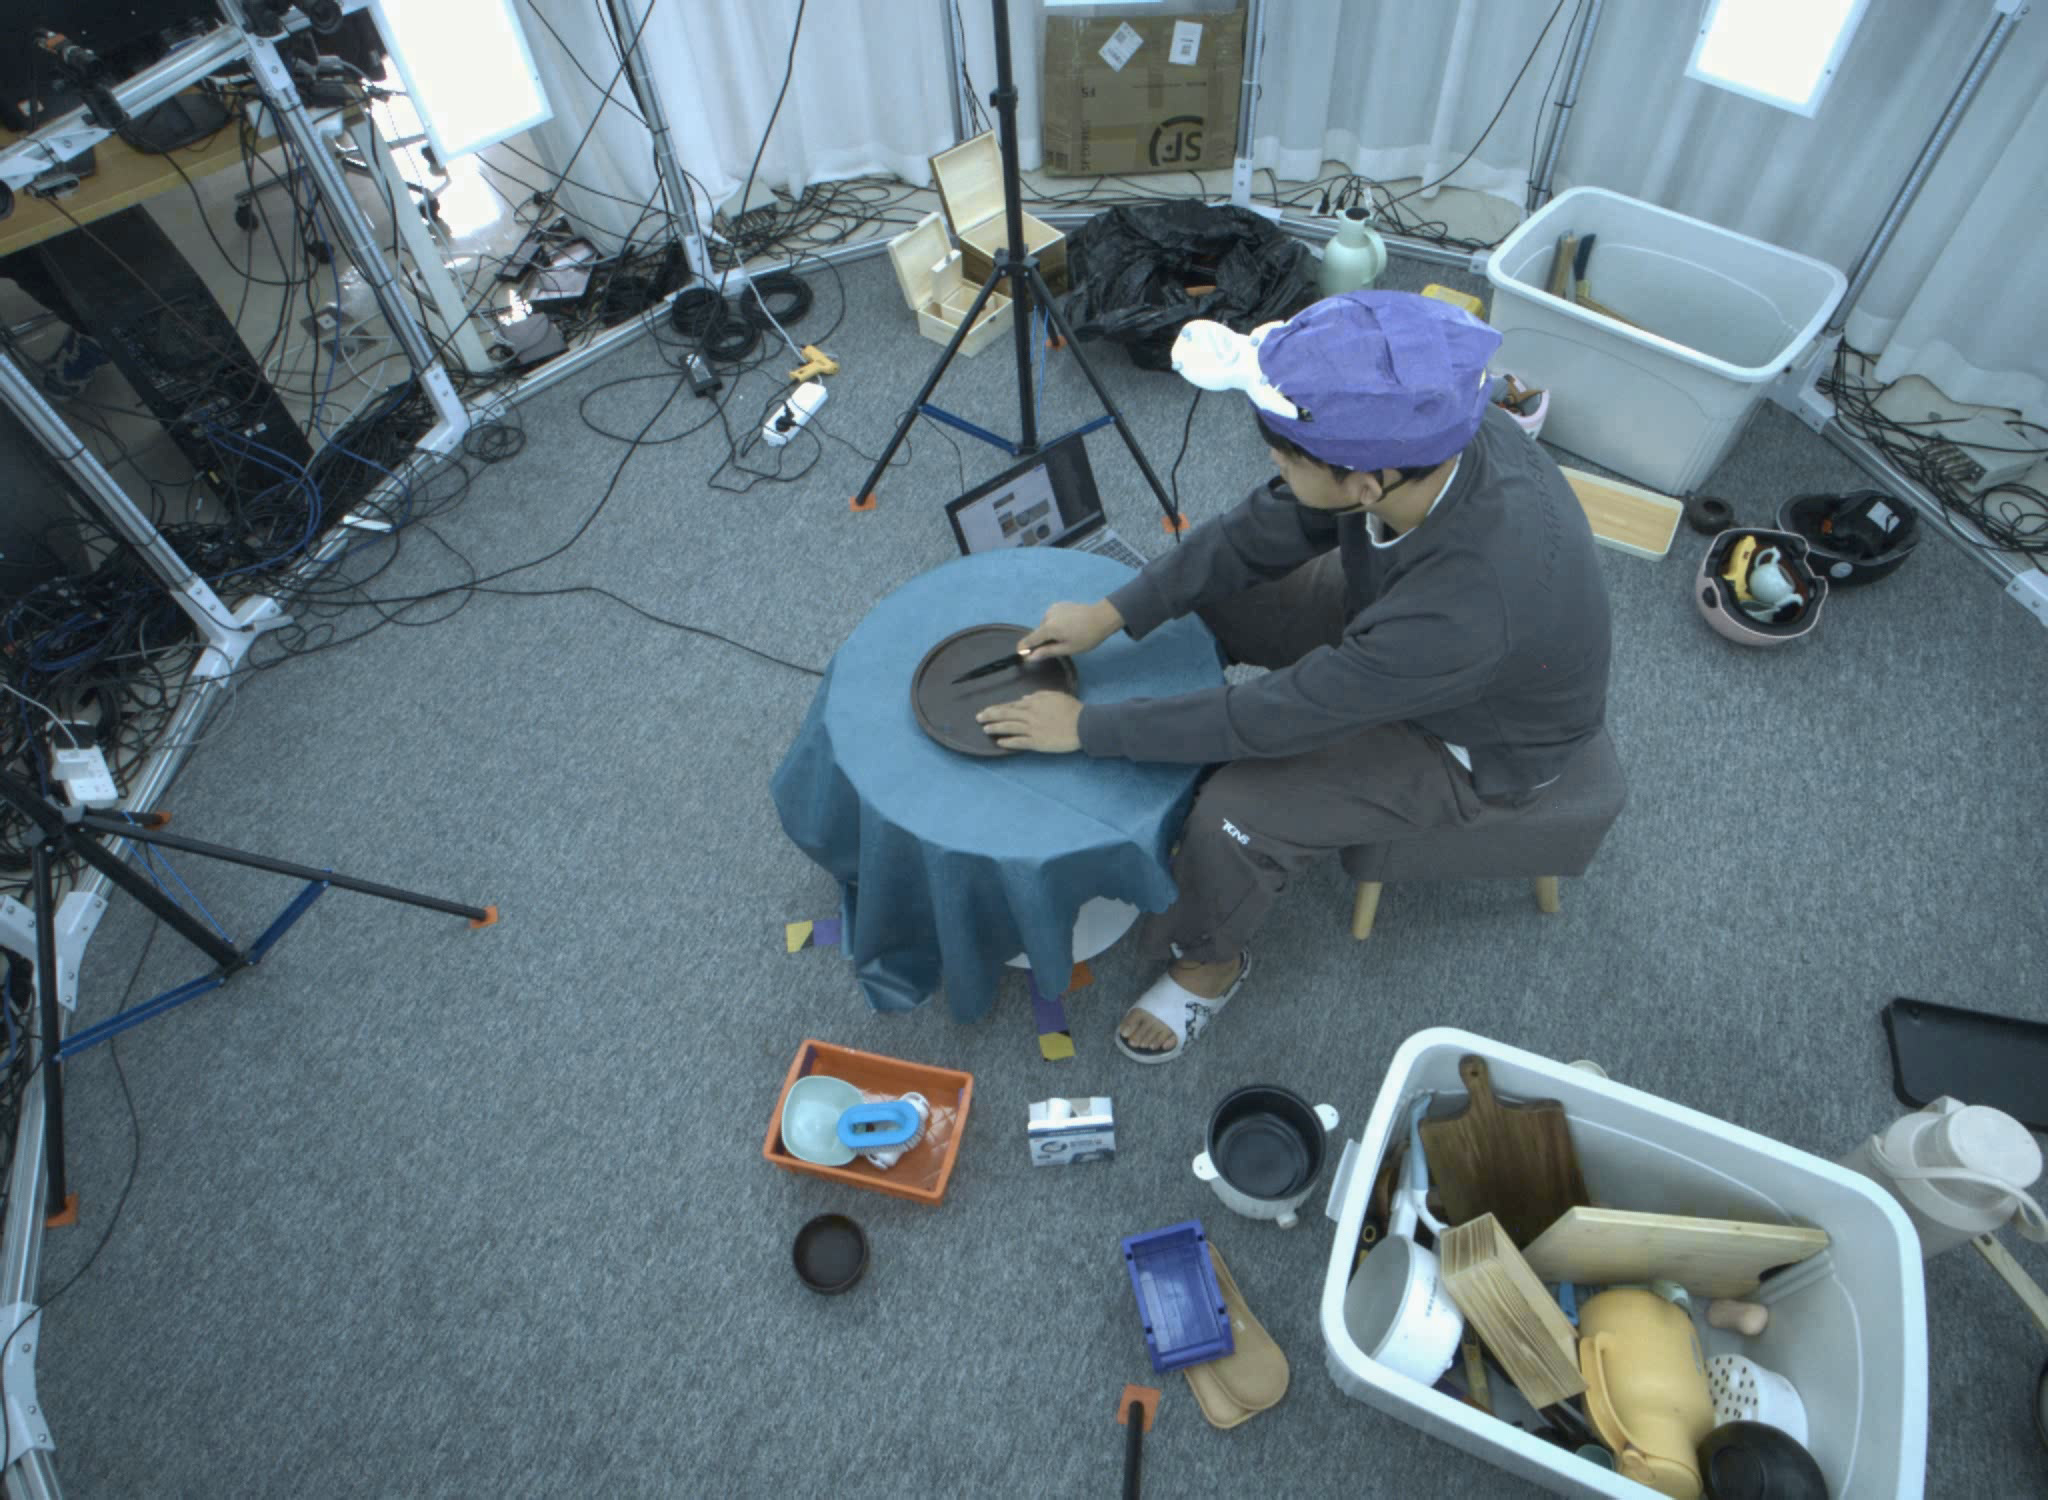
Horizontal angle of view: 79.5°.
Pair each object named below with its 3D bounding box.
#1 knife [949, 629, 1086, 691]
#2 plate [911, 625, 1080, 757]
[{"bbox_3d":[-0.009,-0.135,1.841,0.227,0.026,0.017,-22,43,-10],"label":"knife"},{"bbox_3d":[-0.044,-0.090,1.838,0.255,0.029,0.252,0,54,1],"label":"plate"}]
